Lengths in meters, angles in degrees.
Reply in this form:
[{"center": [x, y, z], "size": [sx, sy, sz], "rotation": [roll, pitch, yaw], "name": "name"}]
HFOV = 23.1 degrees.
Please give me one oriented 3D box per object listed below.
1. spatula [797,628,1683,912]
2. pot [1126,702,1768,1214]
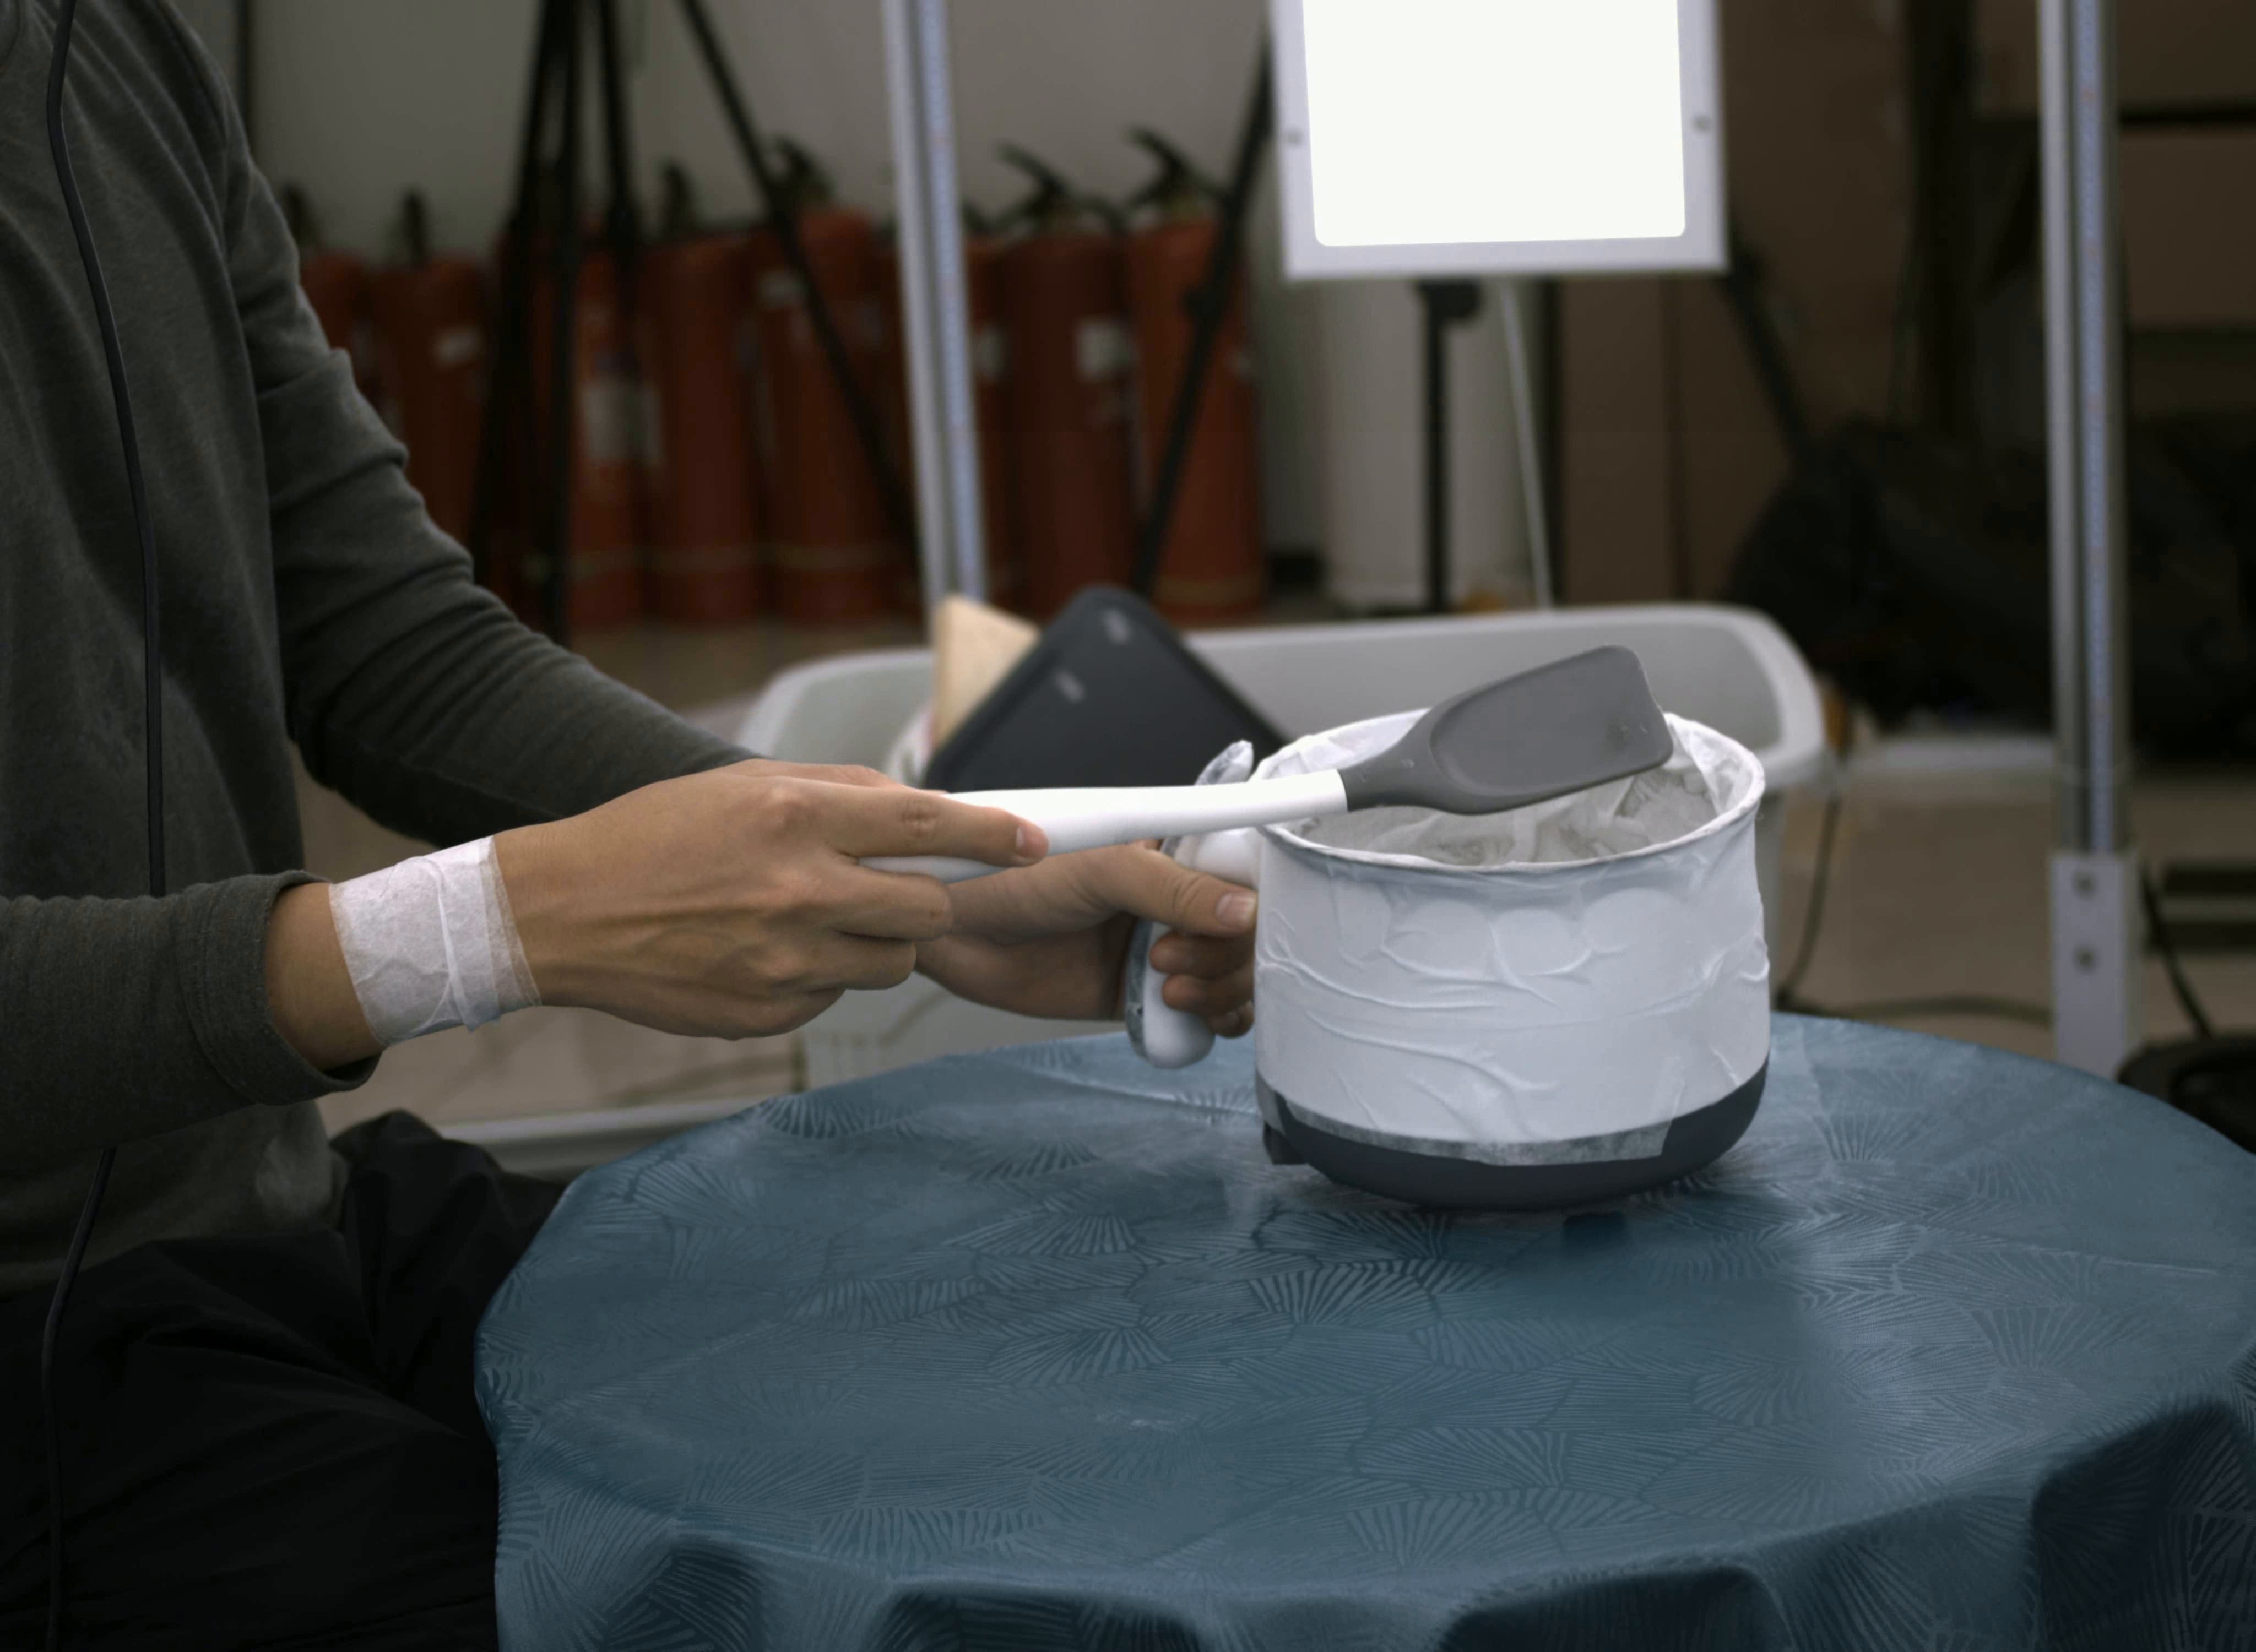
[{"center": [0.036, -0.014, 1.751], "size": [0.284, 0.032, 0.059], "rotation": [-11, 53, -11], "name": "spatula"}, {"center": [0.105, 0.041, 1.888], "size": [0.237, 0.137, 0.175], "rotation": [6, 21, 26], "name": "pot"}]
